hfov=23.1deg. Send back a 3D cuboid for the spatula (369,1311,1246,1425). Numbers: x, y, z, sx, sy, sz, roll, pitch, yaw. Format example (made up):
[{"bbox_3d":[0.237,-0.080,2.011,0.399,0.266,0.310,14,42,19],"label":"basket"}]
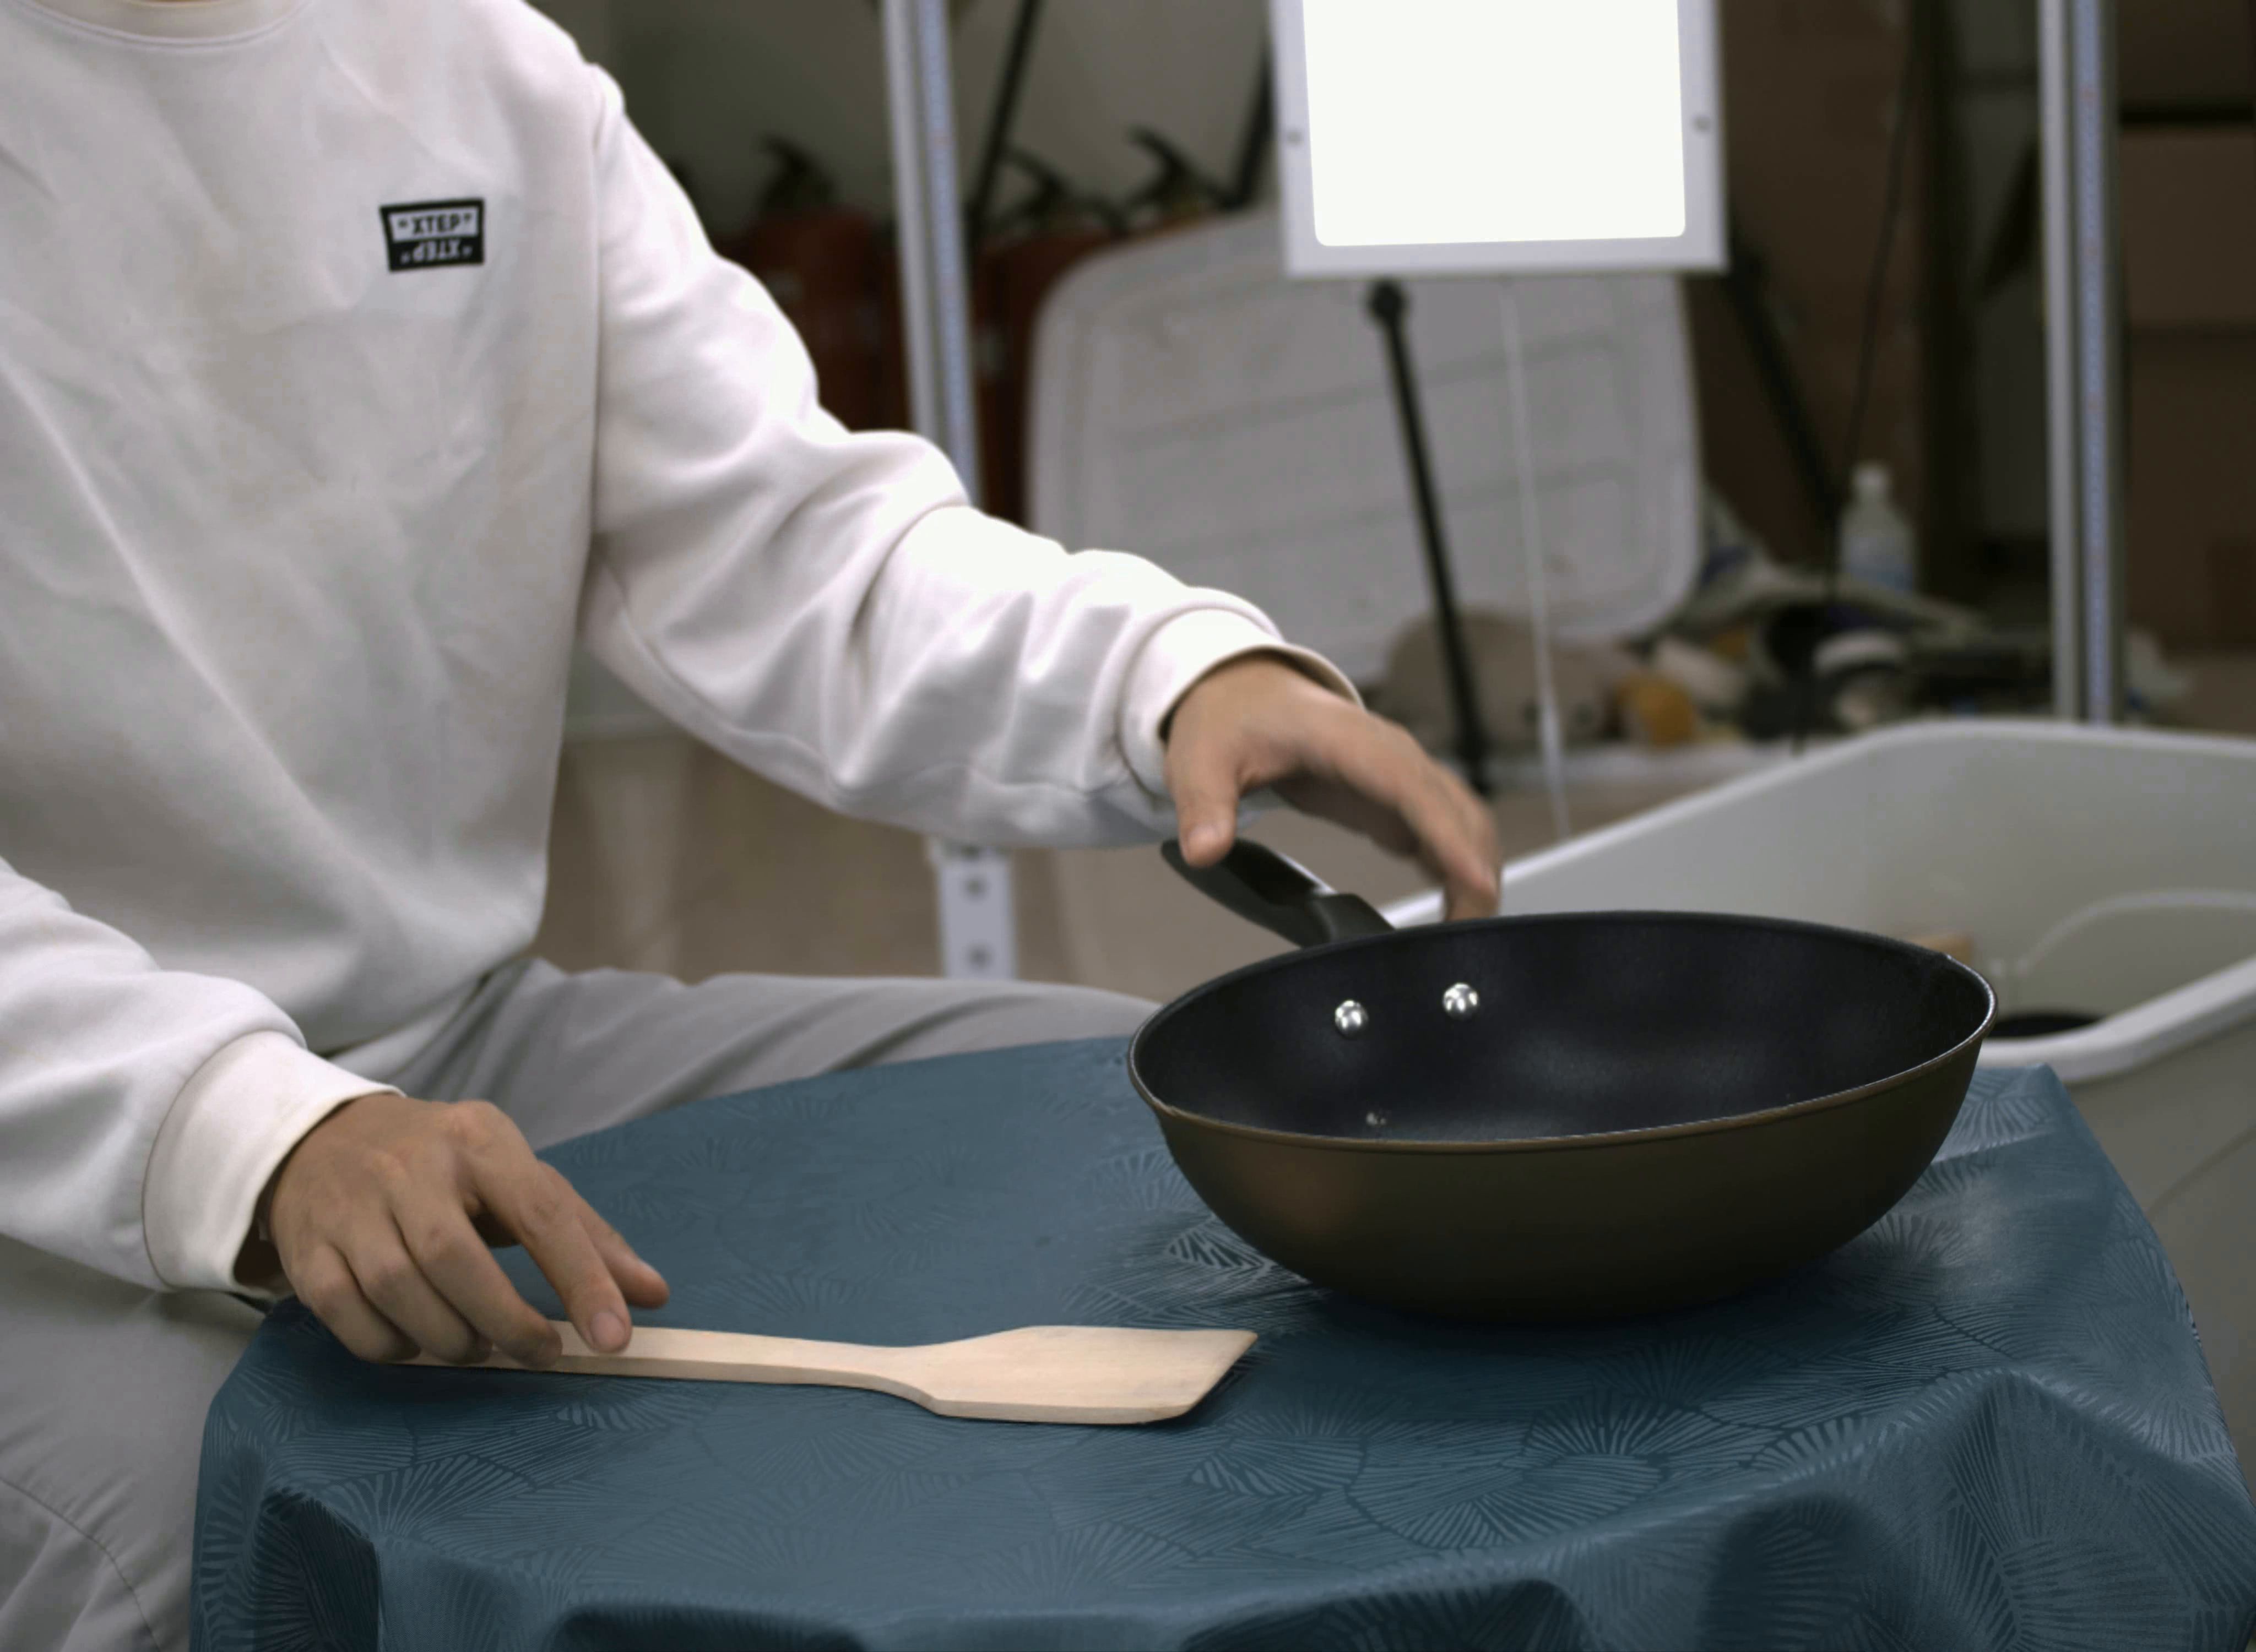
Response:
[{"bbox_3d":[-0.109,0.168,1.747,0.297,0.011,0.071,1,16,23],"label":"spatula"}]

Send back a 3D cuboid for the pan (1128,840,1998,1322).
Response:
[{"bbox_3d":[0.111,0.083,1.864,0.283,0.087,0.469,-9,13,-19],"label":"pan"}]
